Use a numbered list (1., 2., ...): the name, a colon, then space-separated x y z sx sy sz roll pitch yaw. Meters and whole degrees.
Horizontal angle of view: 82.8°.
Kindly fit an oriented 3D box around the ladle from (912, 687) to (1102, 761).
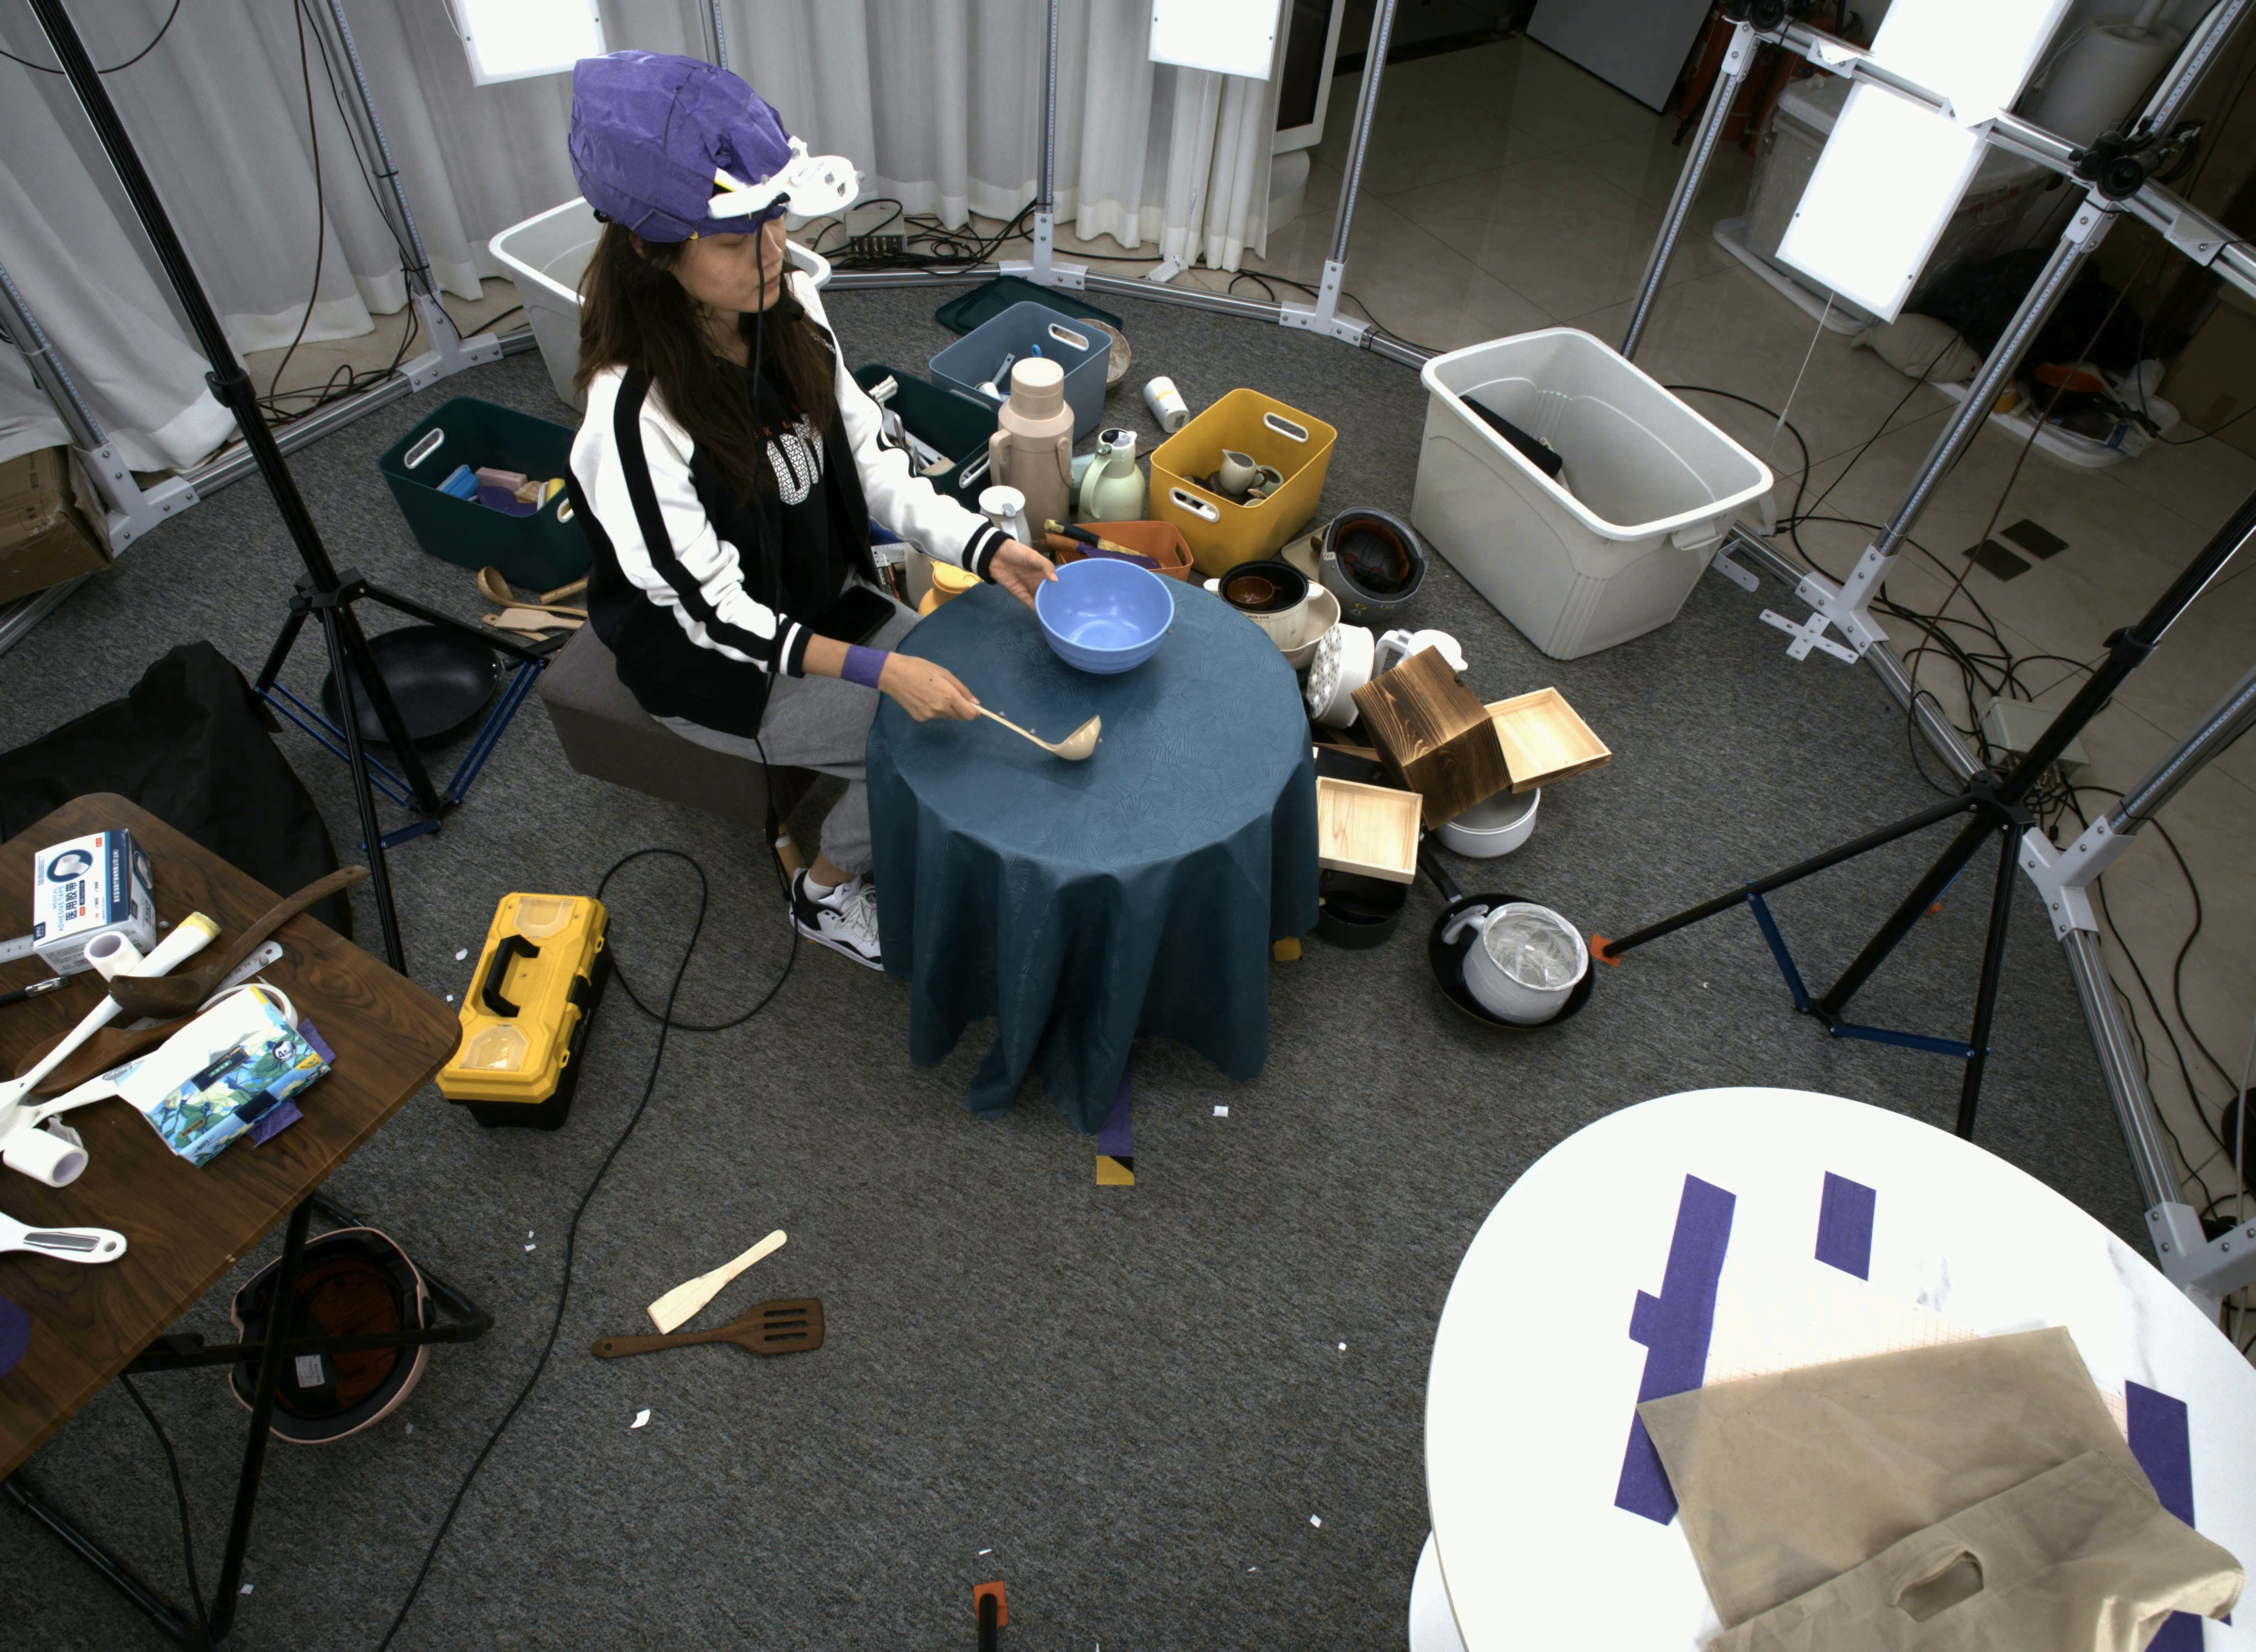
1. ladle: -0.157 -0.163 1.715 0.254 0.072 0.073 24 14 -3

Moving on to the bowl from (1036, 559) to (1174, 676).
1. bowl: -0.035 -0.285 1.856 0.196 0.093 0.201 2 50 -3
